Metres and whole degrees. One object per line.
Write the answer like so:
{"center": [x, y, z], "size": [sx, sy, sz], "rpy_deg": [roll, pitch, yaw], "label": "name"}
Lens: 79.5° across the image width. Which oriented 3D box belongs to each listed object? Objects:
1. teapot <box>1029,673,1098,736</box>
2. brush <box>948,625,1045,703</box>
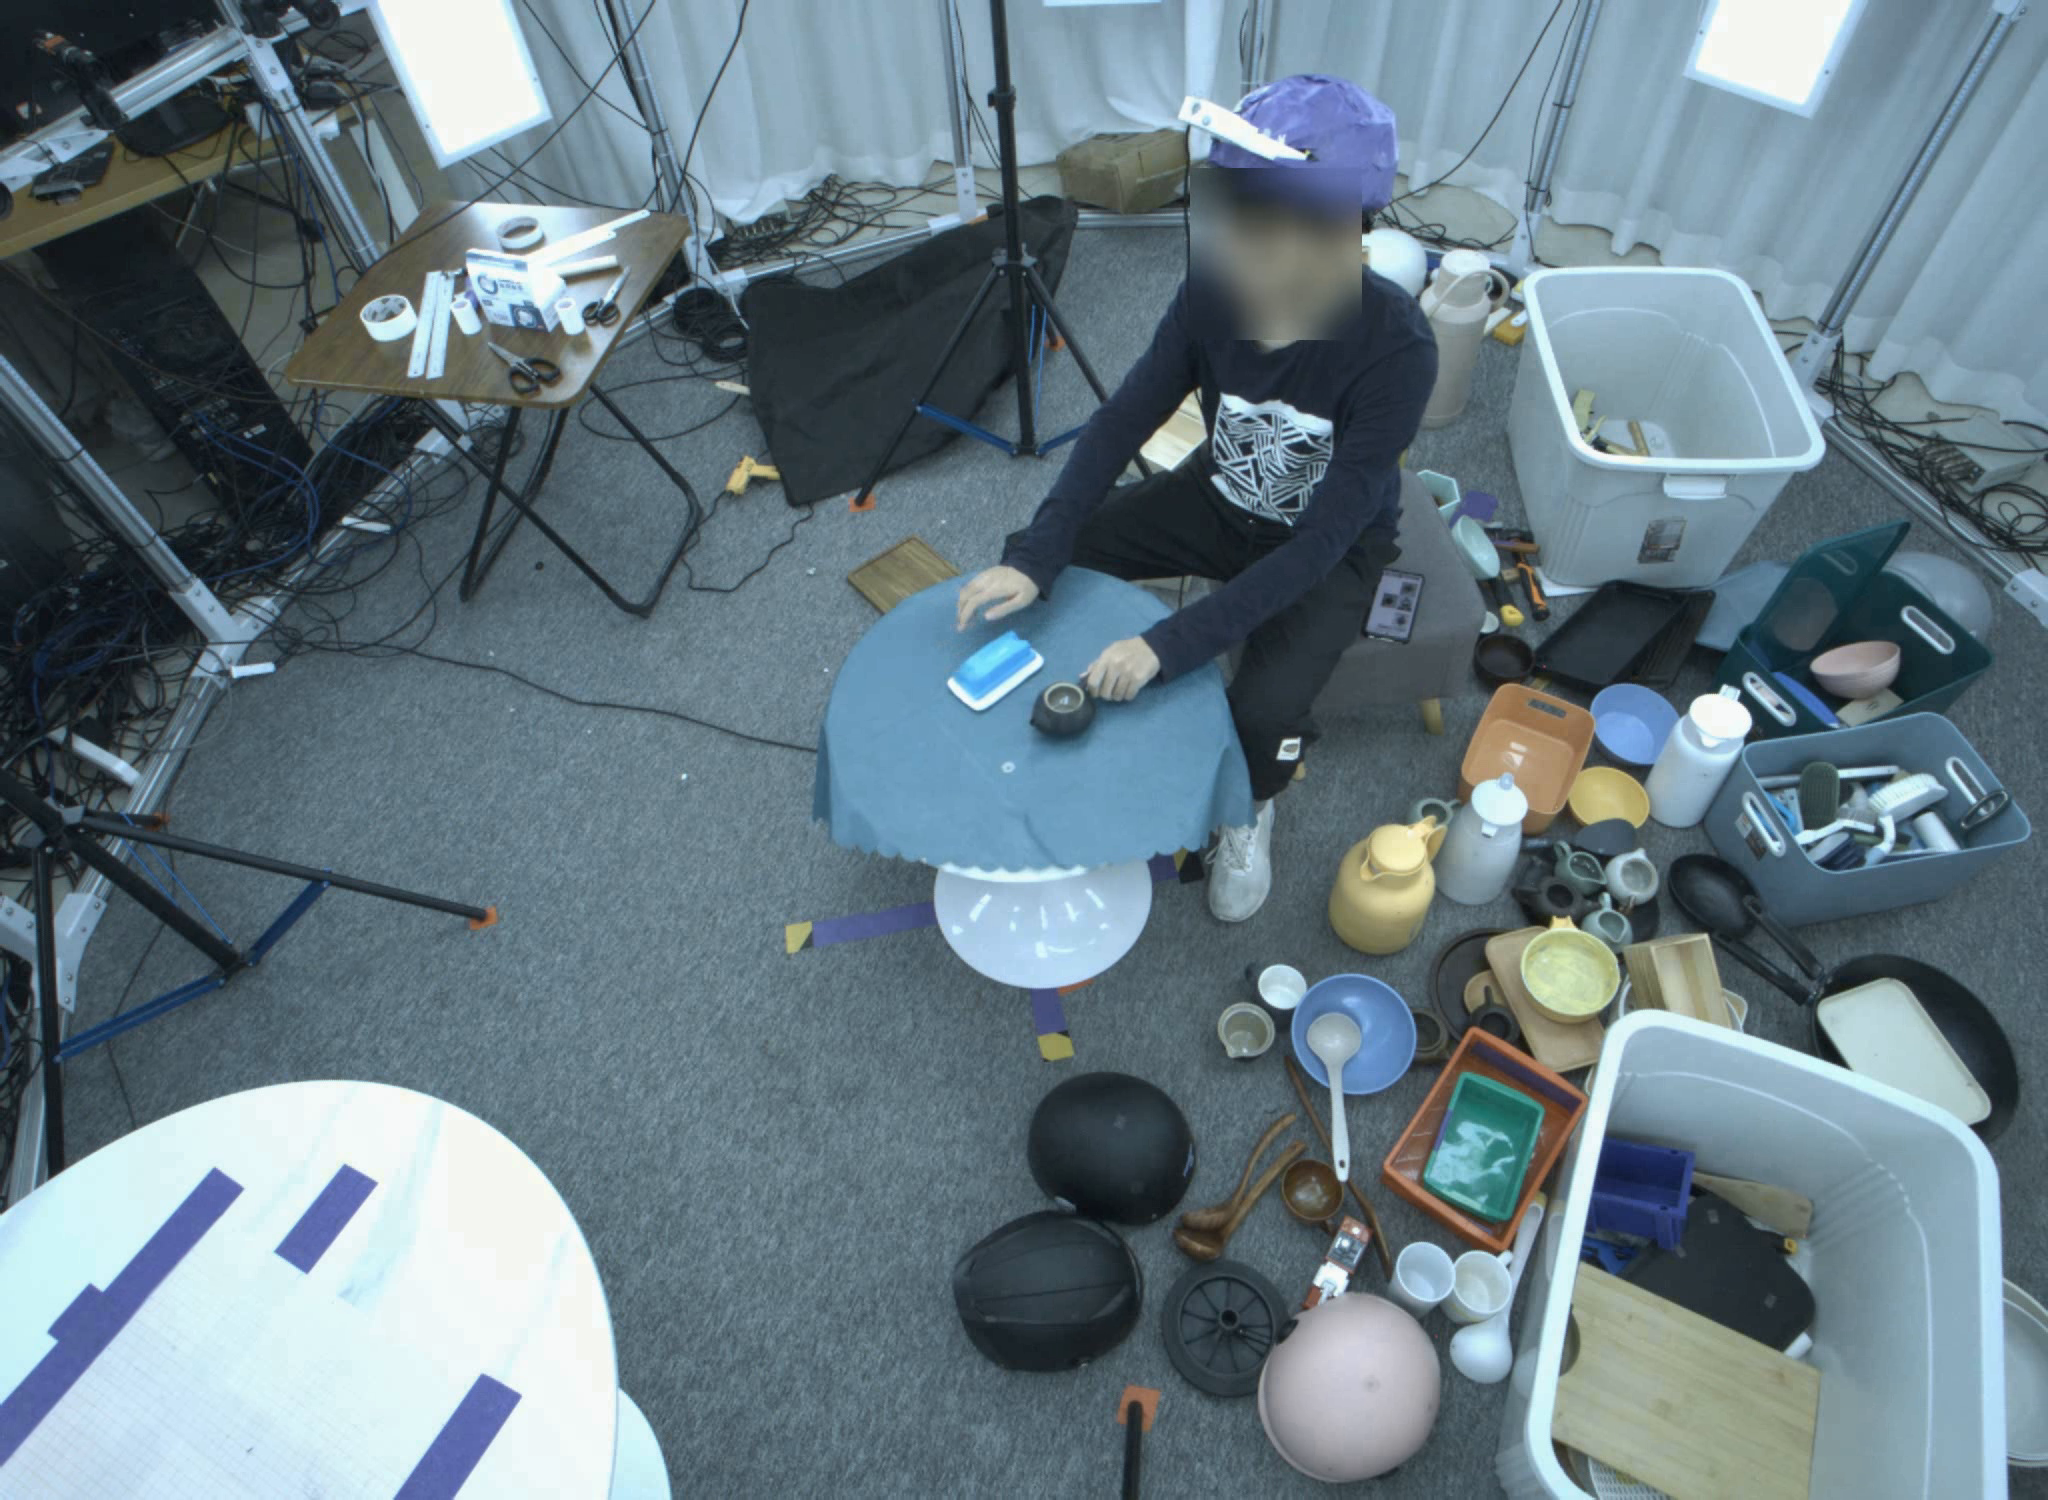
{"center": [0.059, -0.063, 1.788], "size": [0.134, 0.053, 0.089], "rpy_deg": [-39, 63, -22], "label": "teapot"}
{"center": [-0.041, -0.137, 1.841], "size": [0.145, 0.056, 0.082], "rpy_deg": [-38, 64, -19], "label": "brush"}
